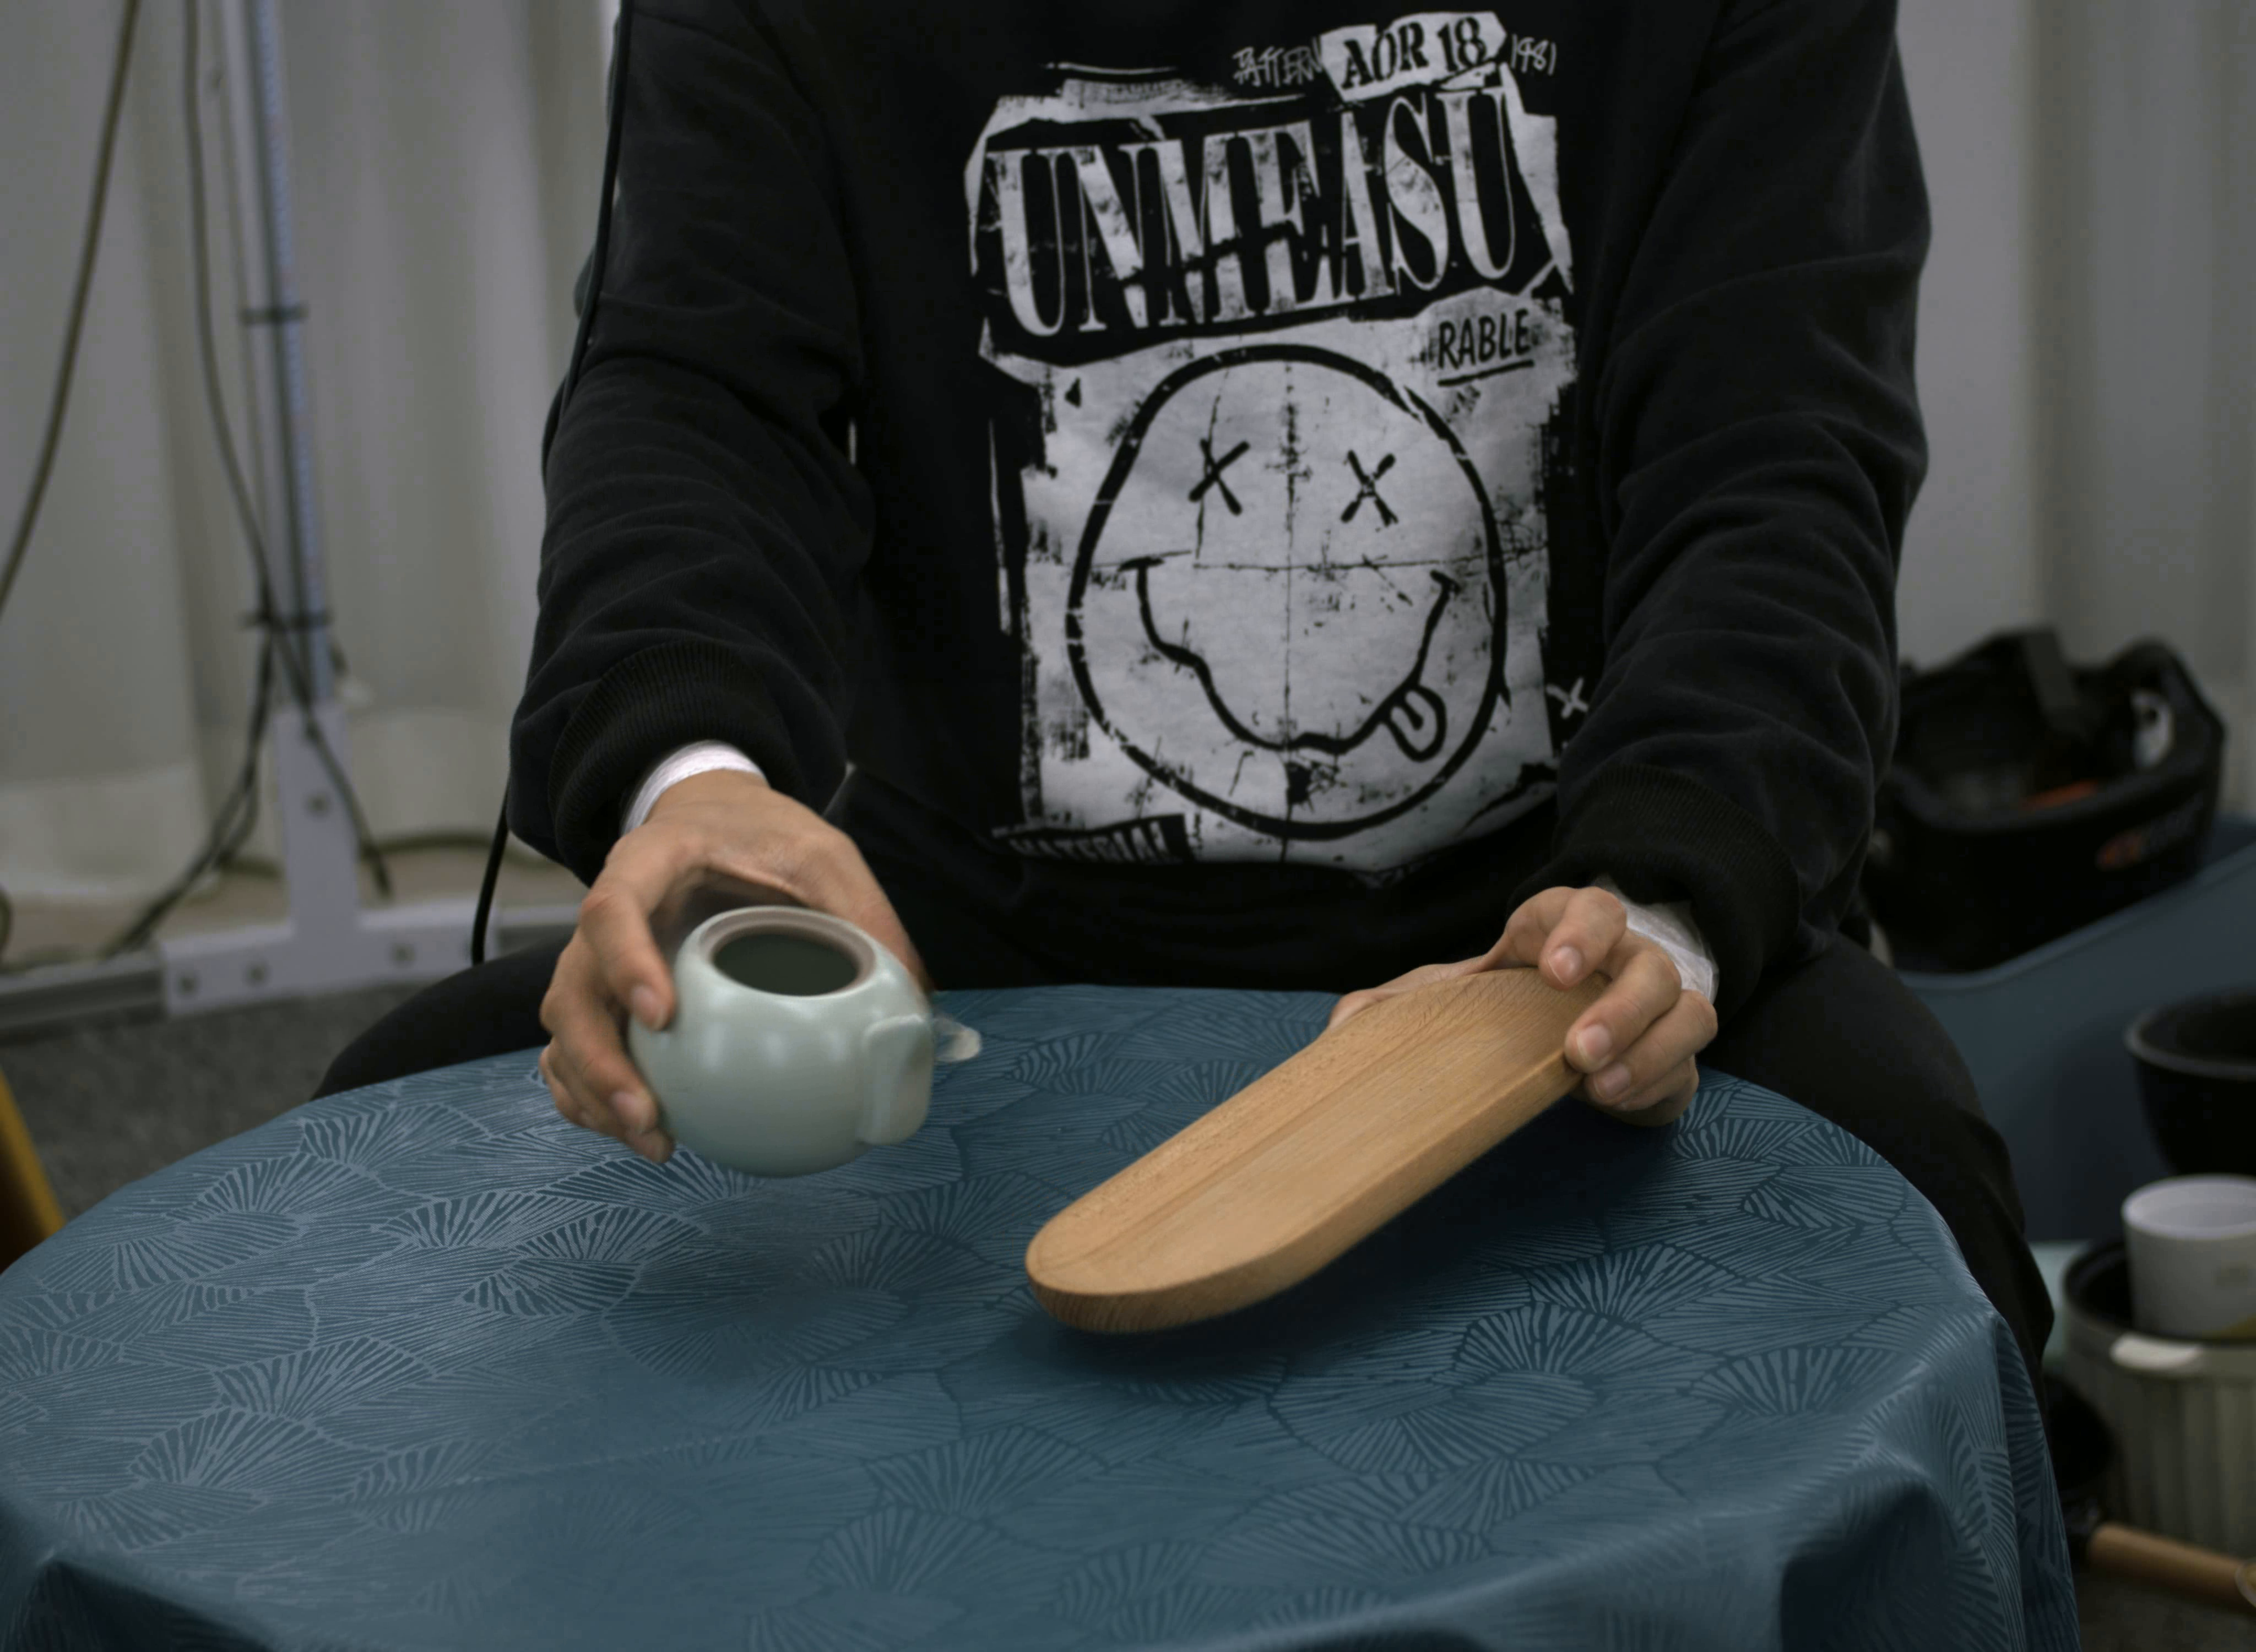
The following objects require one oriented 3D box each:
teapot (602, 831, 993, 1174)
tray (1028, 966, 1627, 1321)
[{"bbox_3d":[-0.102,0.061,1.626,0.145,0.074,0.088,30,32,29],"label":"teapot"},{"bbox_3d":[0.062,0.093,1.631,0.102,0.020,0.231,1,21,42],"label":"tray"}]
